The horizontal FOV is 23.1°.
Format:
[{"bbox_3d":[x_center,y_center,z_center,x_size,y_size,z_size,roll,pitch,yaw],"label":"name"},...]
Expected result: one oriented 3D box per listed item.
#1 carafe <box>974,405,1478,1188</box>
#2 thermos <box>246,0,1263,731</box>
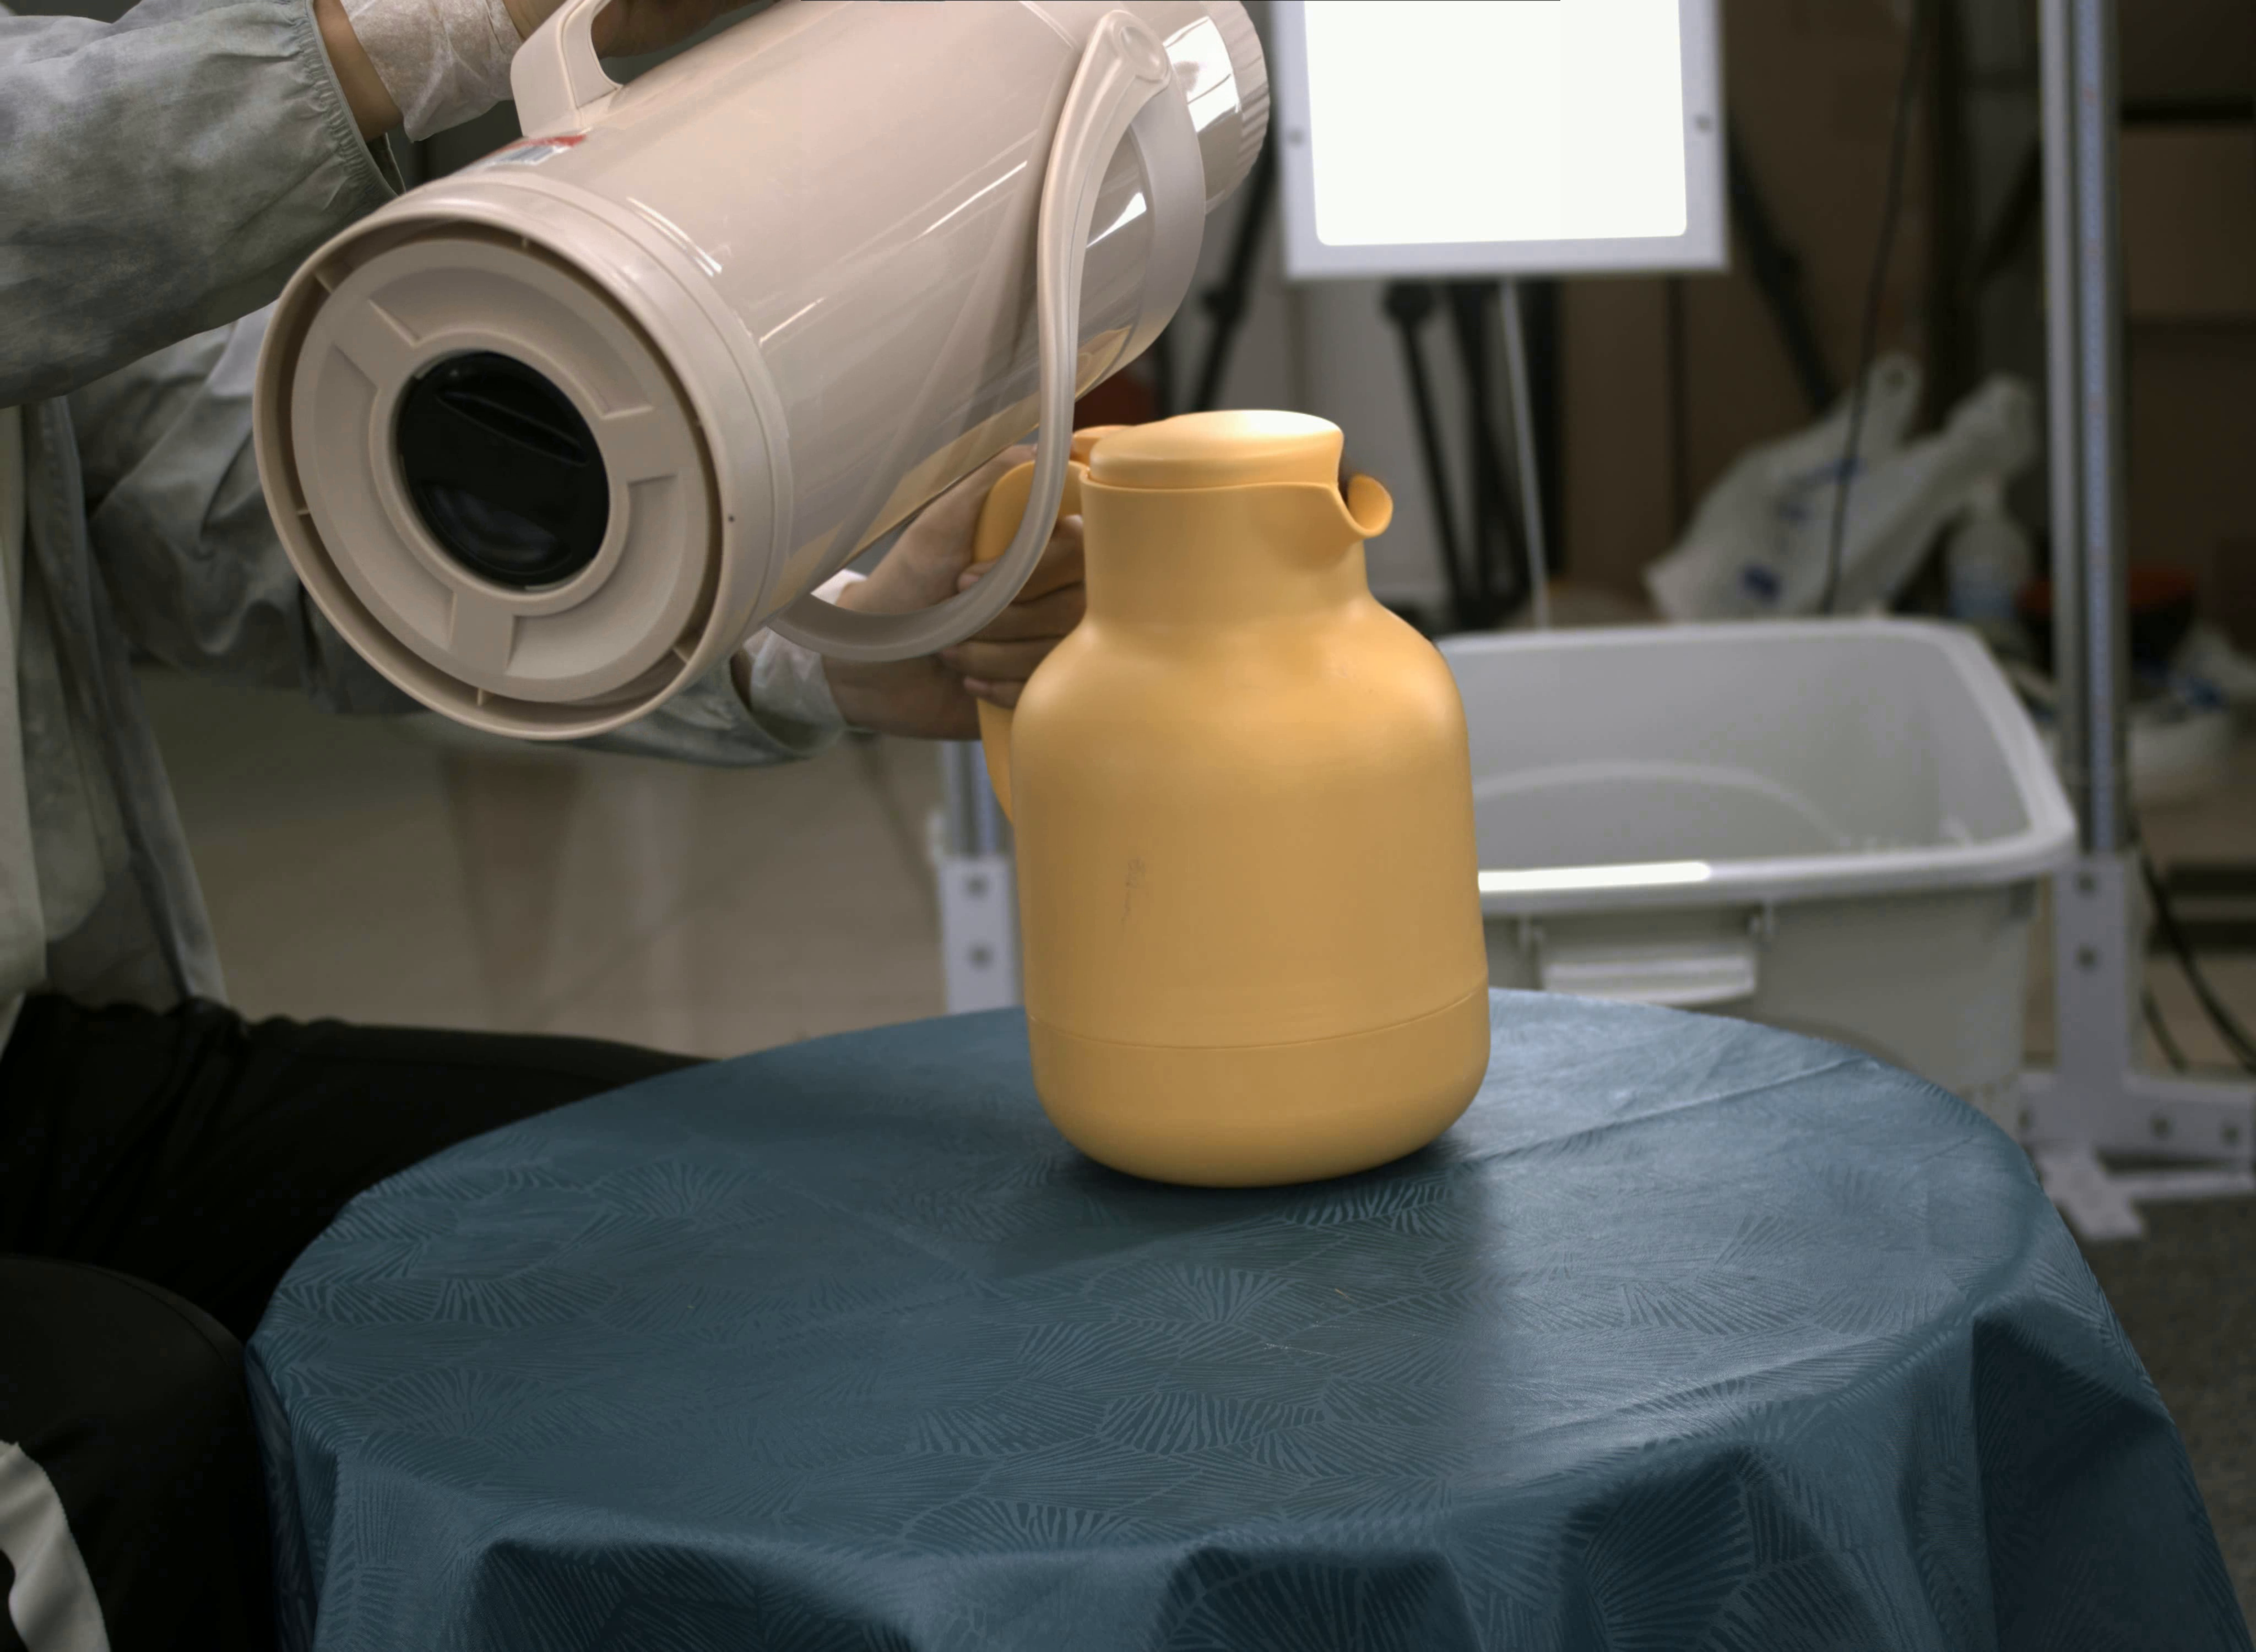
[{"bbox_3d":[0.026,-0.017,1.923,0.159,0.261,0.207,-13,17,-39],"label":"carafe"},{"bbox_3d":[-0.100,-0.186,1.685,0.179,0.207,0.397,-33,4,39],"label":"thermos"}]
